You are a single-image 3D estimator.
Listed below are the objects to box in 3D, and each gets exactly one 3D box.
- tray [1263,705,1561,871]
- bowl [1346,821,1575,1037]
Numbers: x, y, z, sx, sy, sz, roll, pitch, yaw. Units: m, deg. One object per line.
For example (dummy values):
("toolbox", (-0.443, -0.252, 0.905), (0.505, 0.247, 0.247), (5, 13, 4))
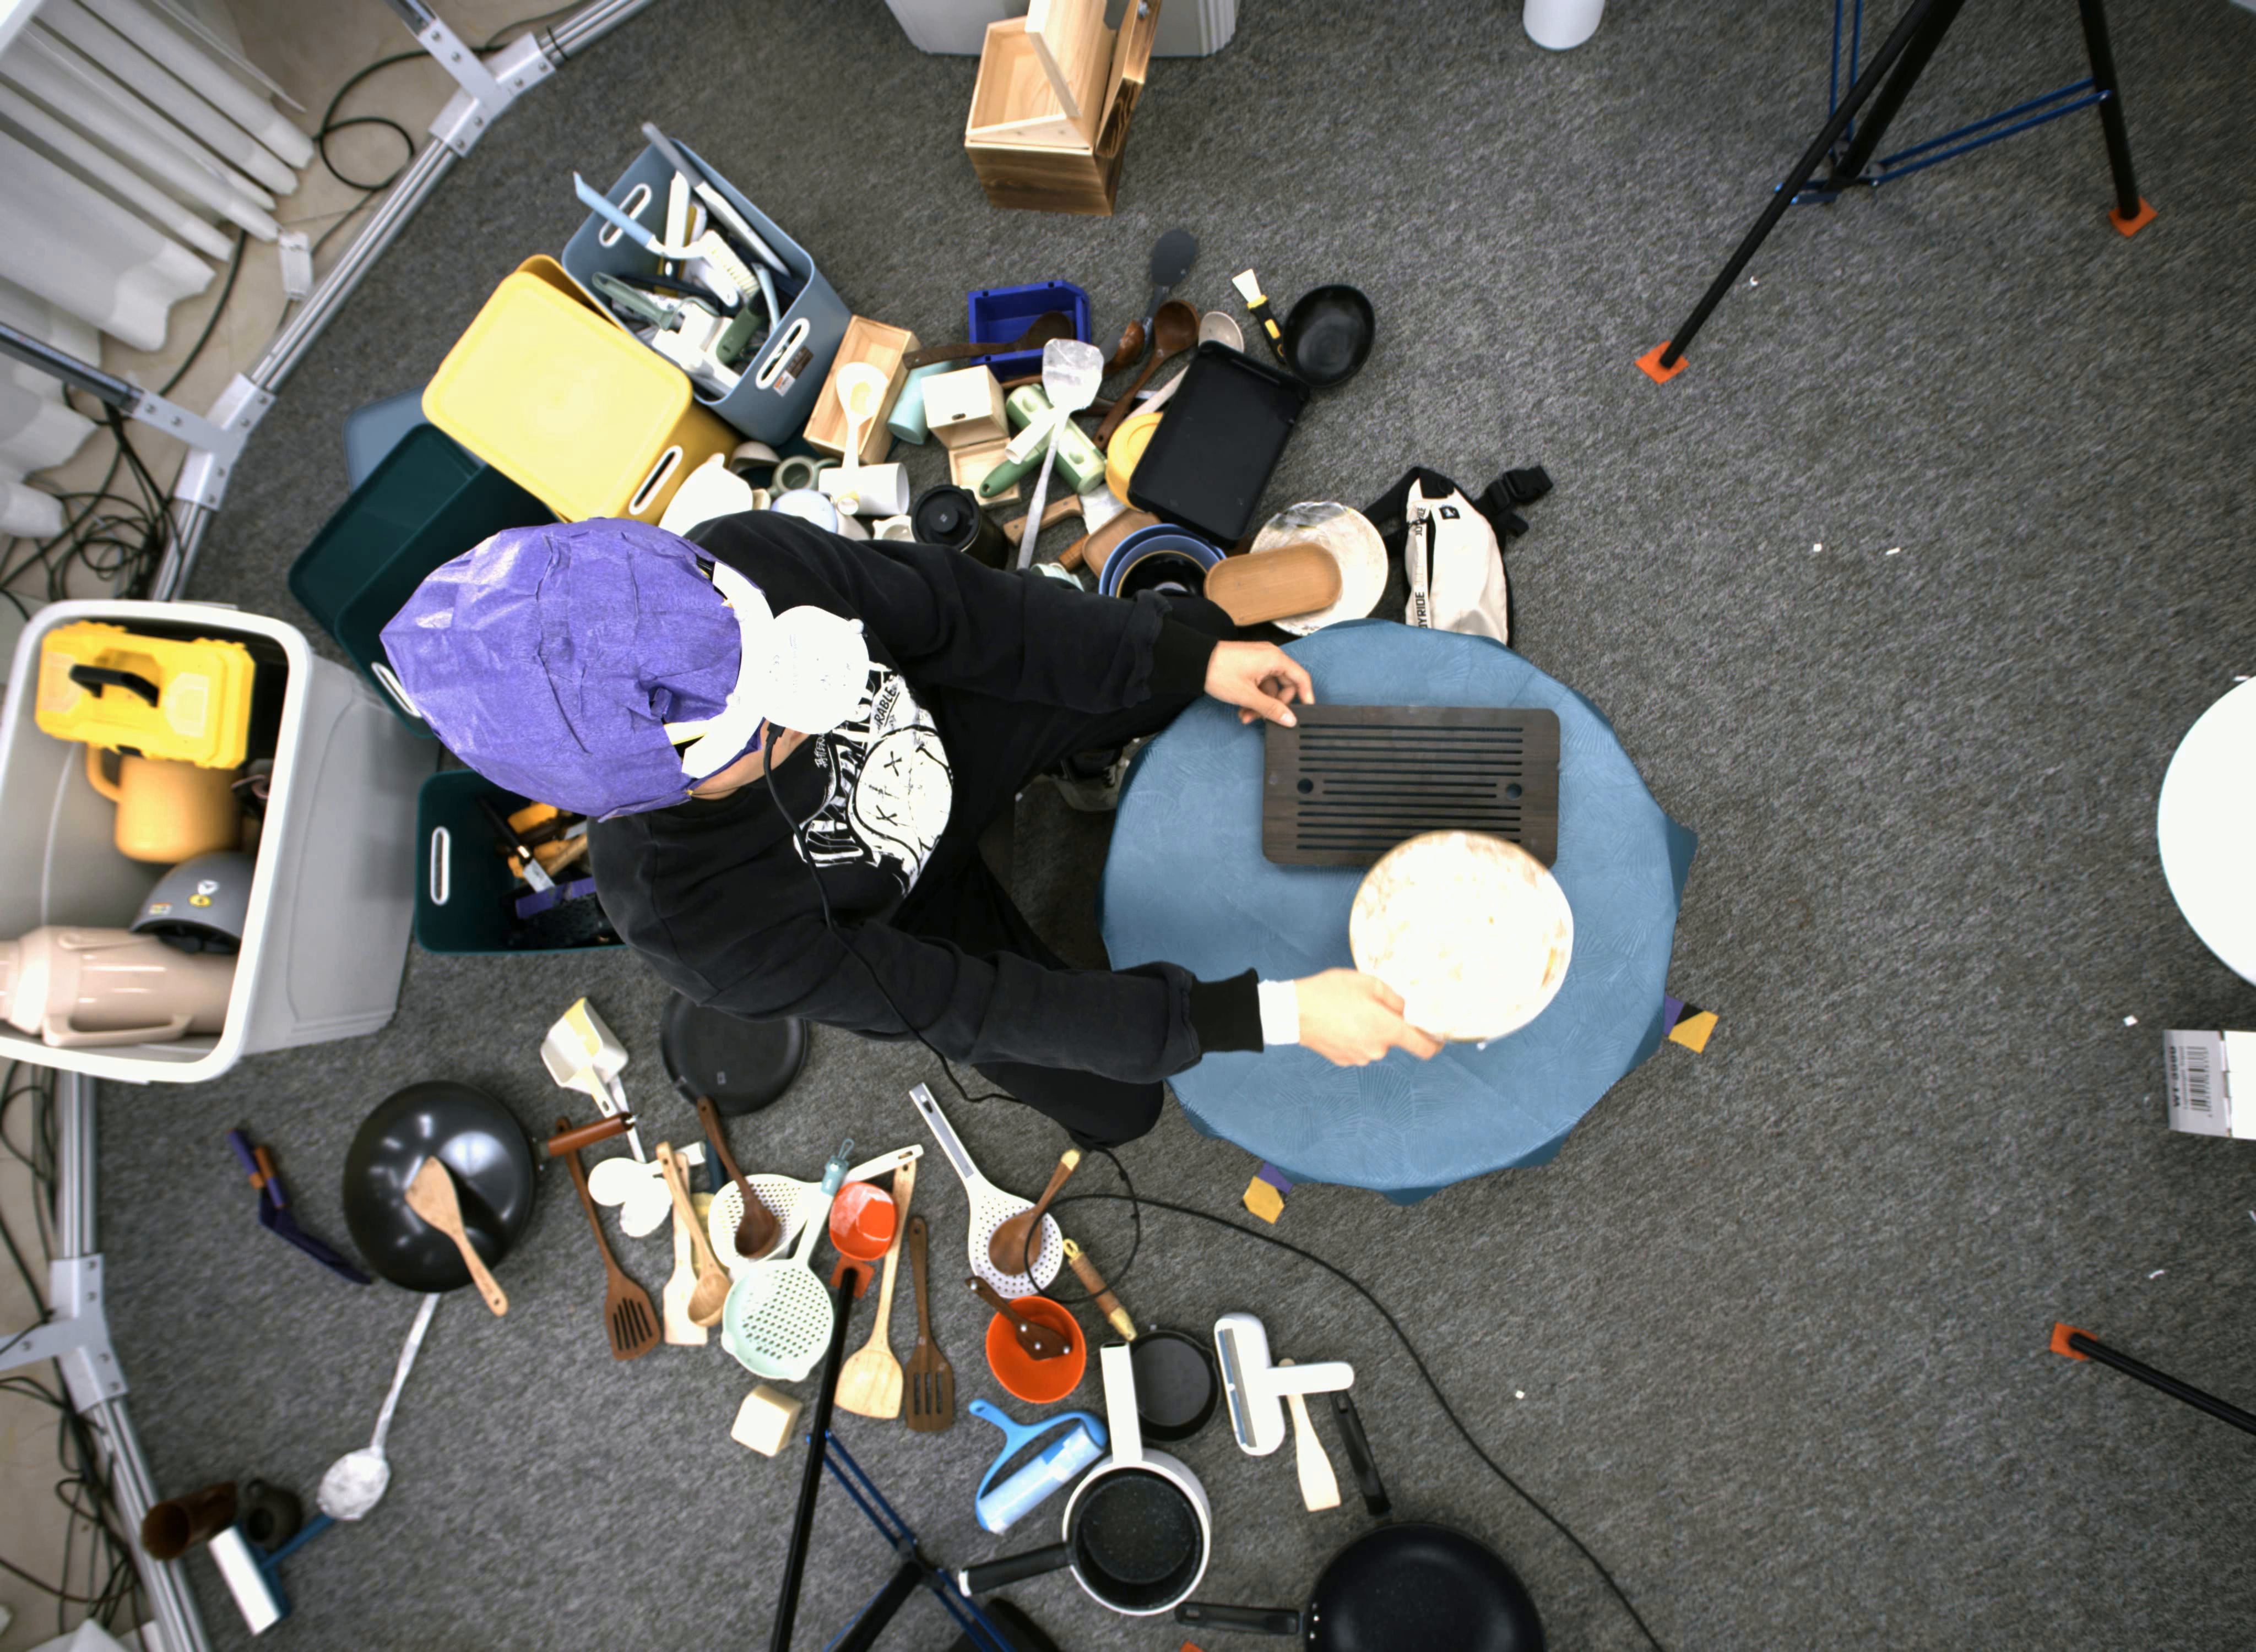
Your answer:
("tray", (0.296, -0.042, 1.442), (0.307, 0.018, 0.170), (1, 92, 7))
("bowl", (0.312, 0.104, 1.303), (0.216, 0.096, 0.211), (-5, 69, 13))
